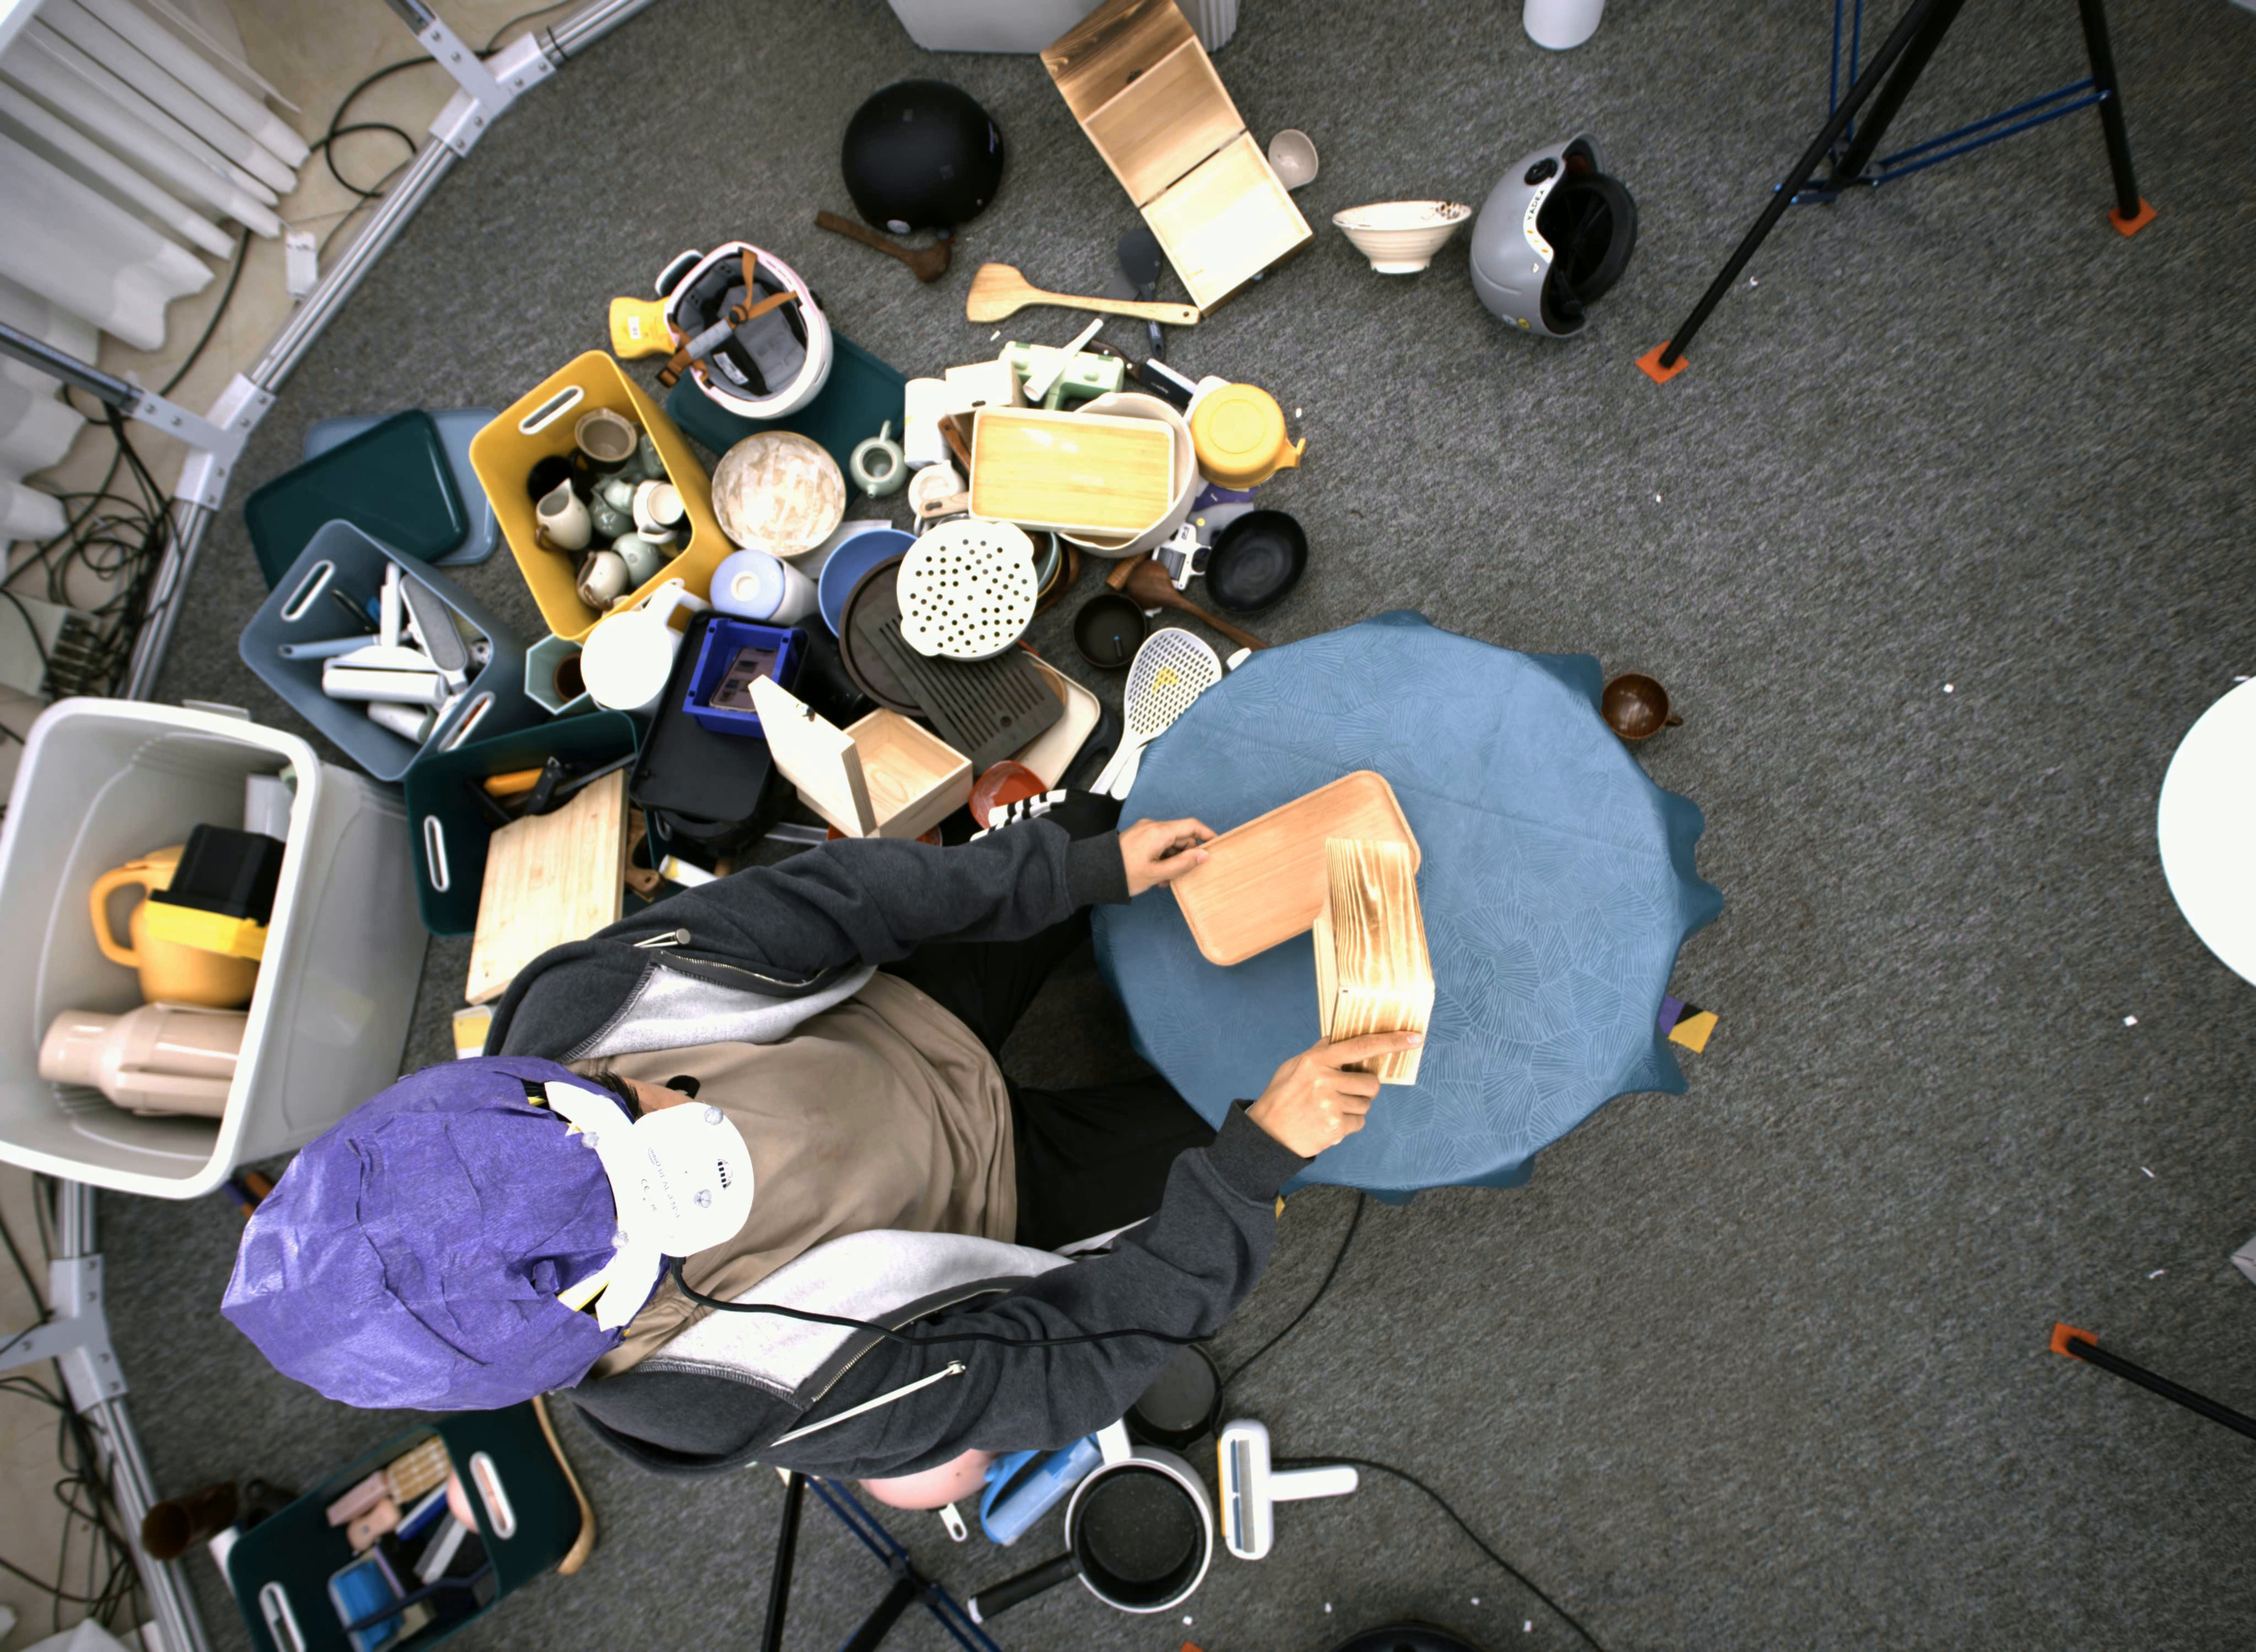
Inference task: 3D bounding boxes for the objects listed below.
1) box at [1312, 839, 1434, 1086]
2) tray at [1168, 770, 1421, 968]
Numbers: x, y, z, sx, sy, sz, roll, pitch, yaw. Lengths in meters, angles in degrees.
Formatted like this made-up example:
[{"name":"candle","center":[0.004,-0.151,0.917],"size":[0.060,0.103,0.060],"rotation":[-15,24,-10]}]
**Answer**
[{"name":"box","center":[0.214,0.116,1.235],"size":[0.080,0.206,0.110],"rotation":[5,126,1]},{"name":"tray","center":[0.171,0.043,1.428],"size":[0.251,0.023,0.130],"rotation":[-25,89,1]}]
